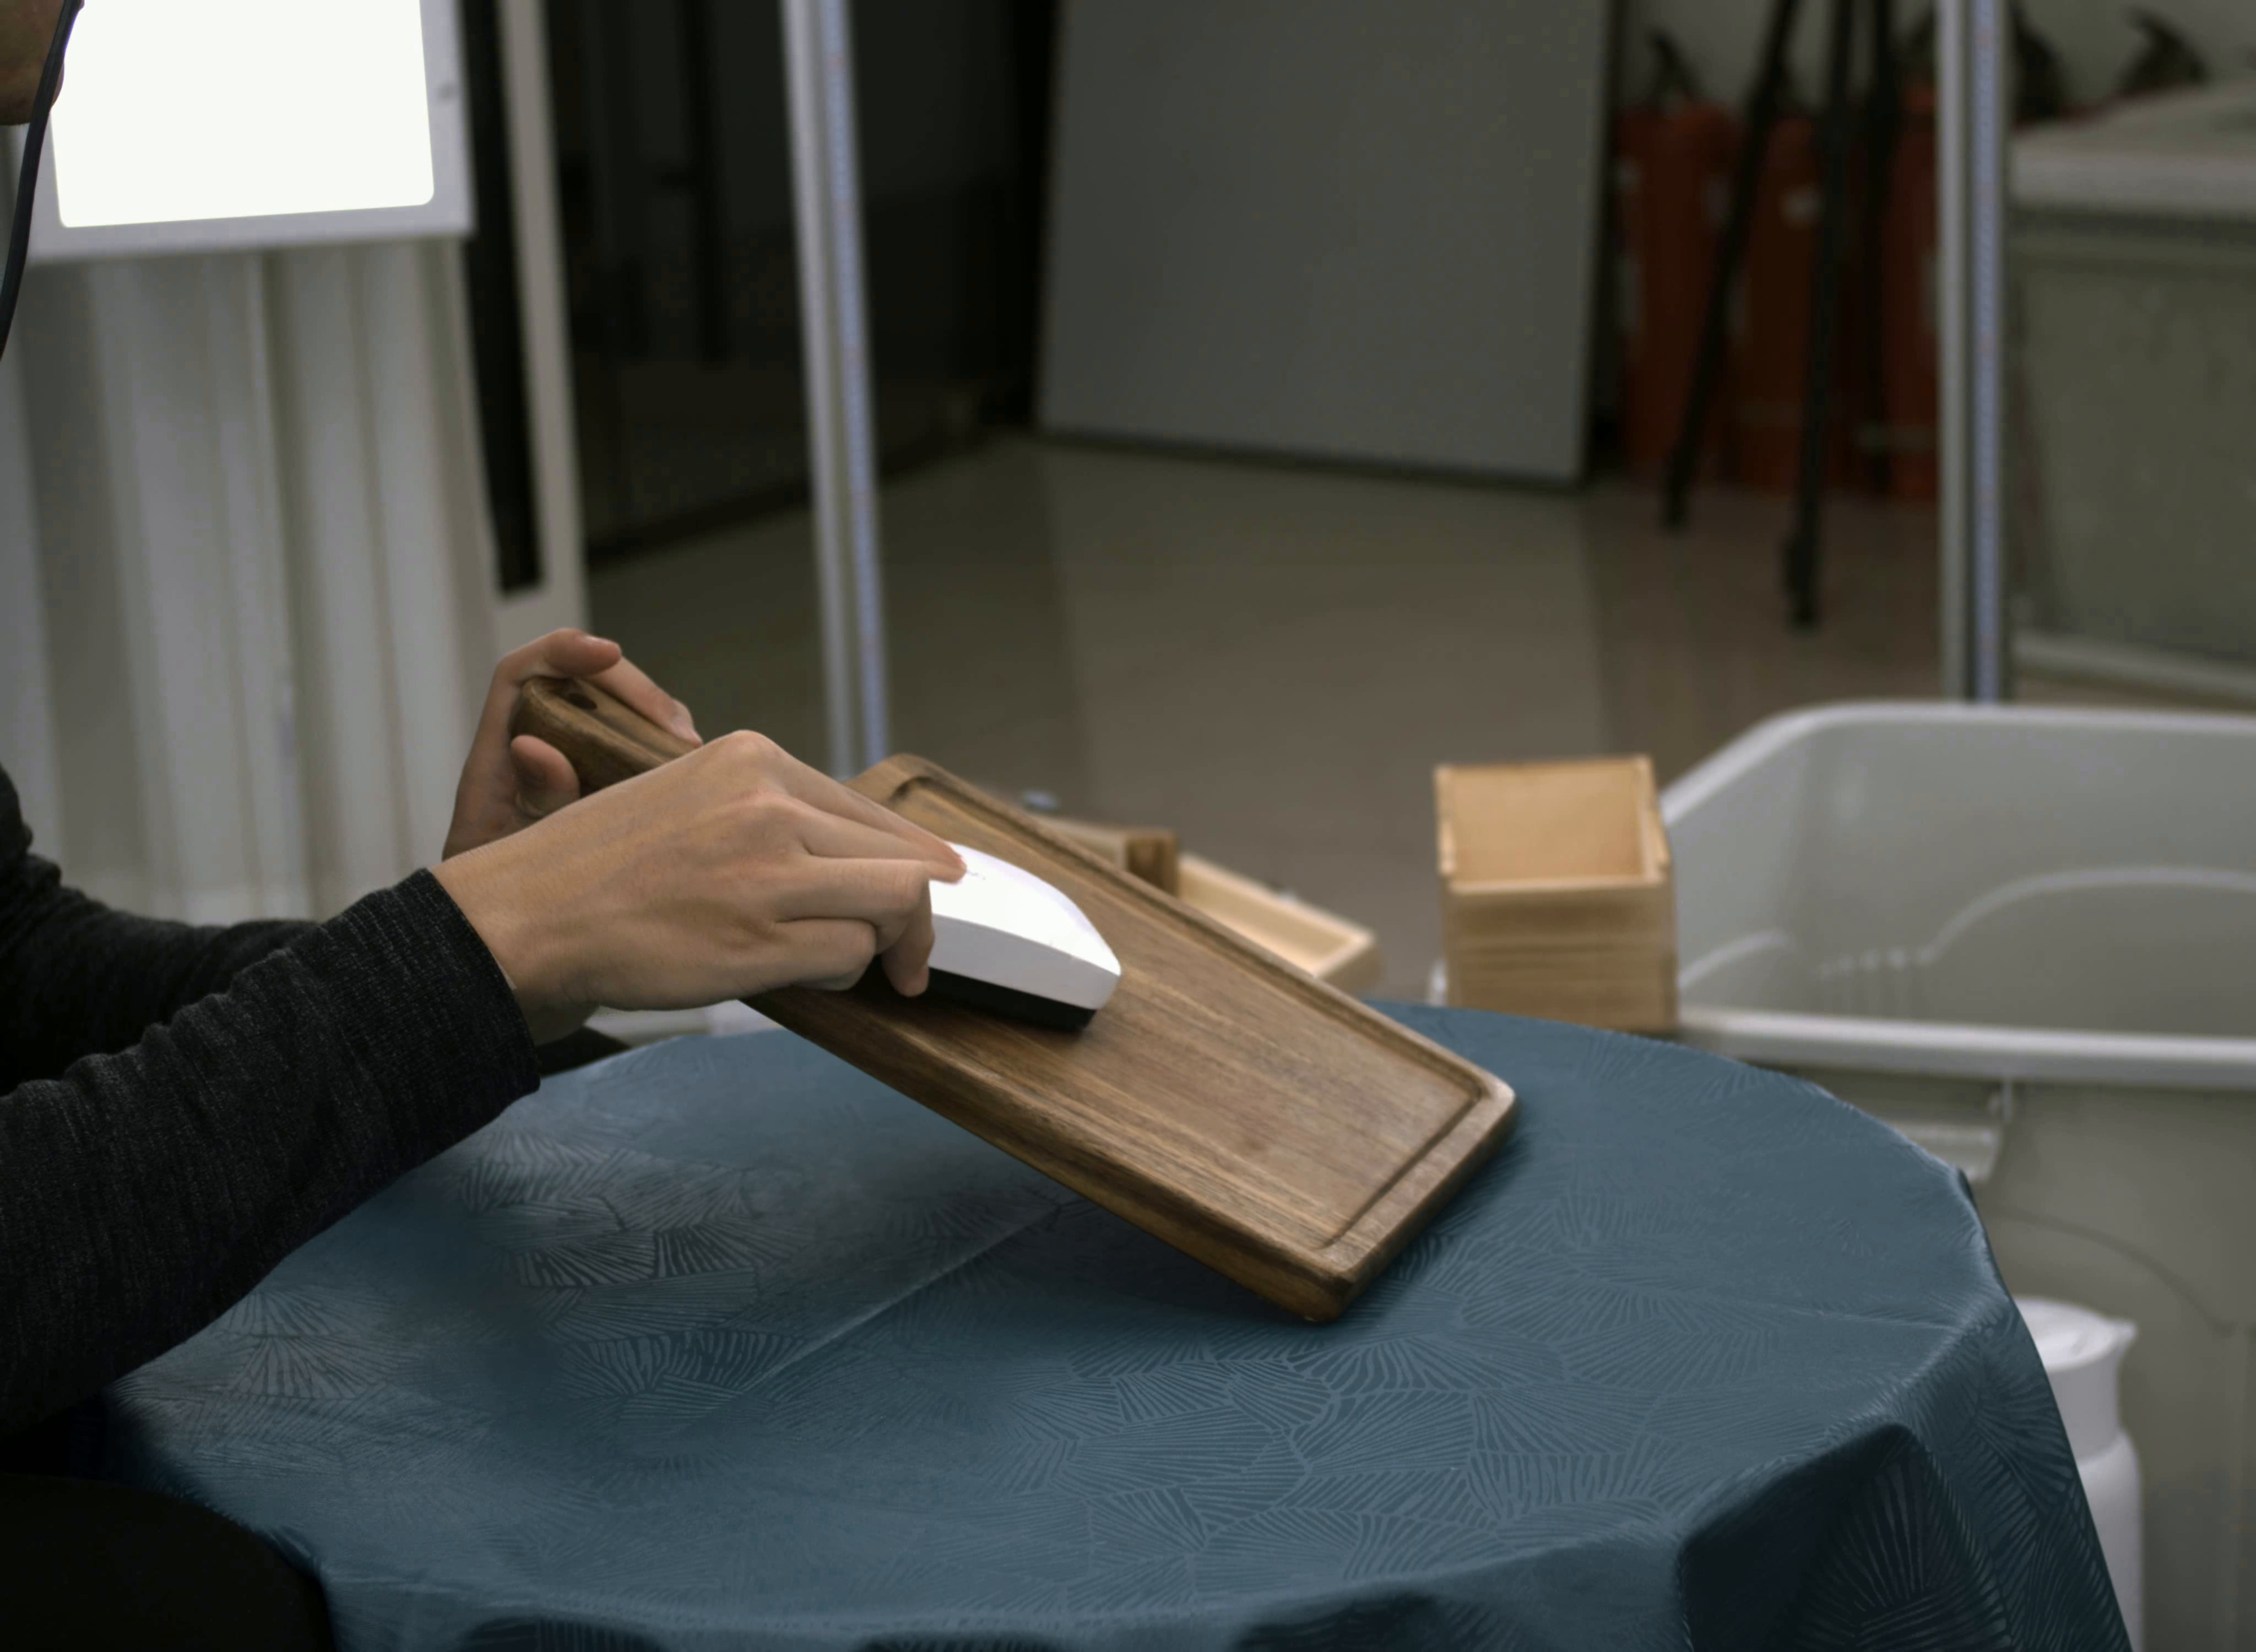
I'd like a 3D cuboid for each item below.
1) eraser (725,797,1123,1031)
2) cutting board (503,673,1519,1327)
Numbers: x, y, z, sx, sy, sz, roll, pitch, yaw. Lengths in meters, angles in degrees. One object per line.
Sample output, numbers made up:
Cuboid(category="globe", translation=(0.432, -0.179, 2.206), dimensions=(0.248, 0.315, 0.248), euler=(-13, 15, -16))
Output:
Cuboid(category="eraser", translation=(-0.064, 0.026, 1.698), dimensions=(0.128, 0.035, 0.064), euler=(18, 20, -32))
Cuboid(category="cutting board", translation=(-0.050, 0.040, 1.748), dimensions=(0.352, 0.023, 0.199), euler=(29, 23, 13))
